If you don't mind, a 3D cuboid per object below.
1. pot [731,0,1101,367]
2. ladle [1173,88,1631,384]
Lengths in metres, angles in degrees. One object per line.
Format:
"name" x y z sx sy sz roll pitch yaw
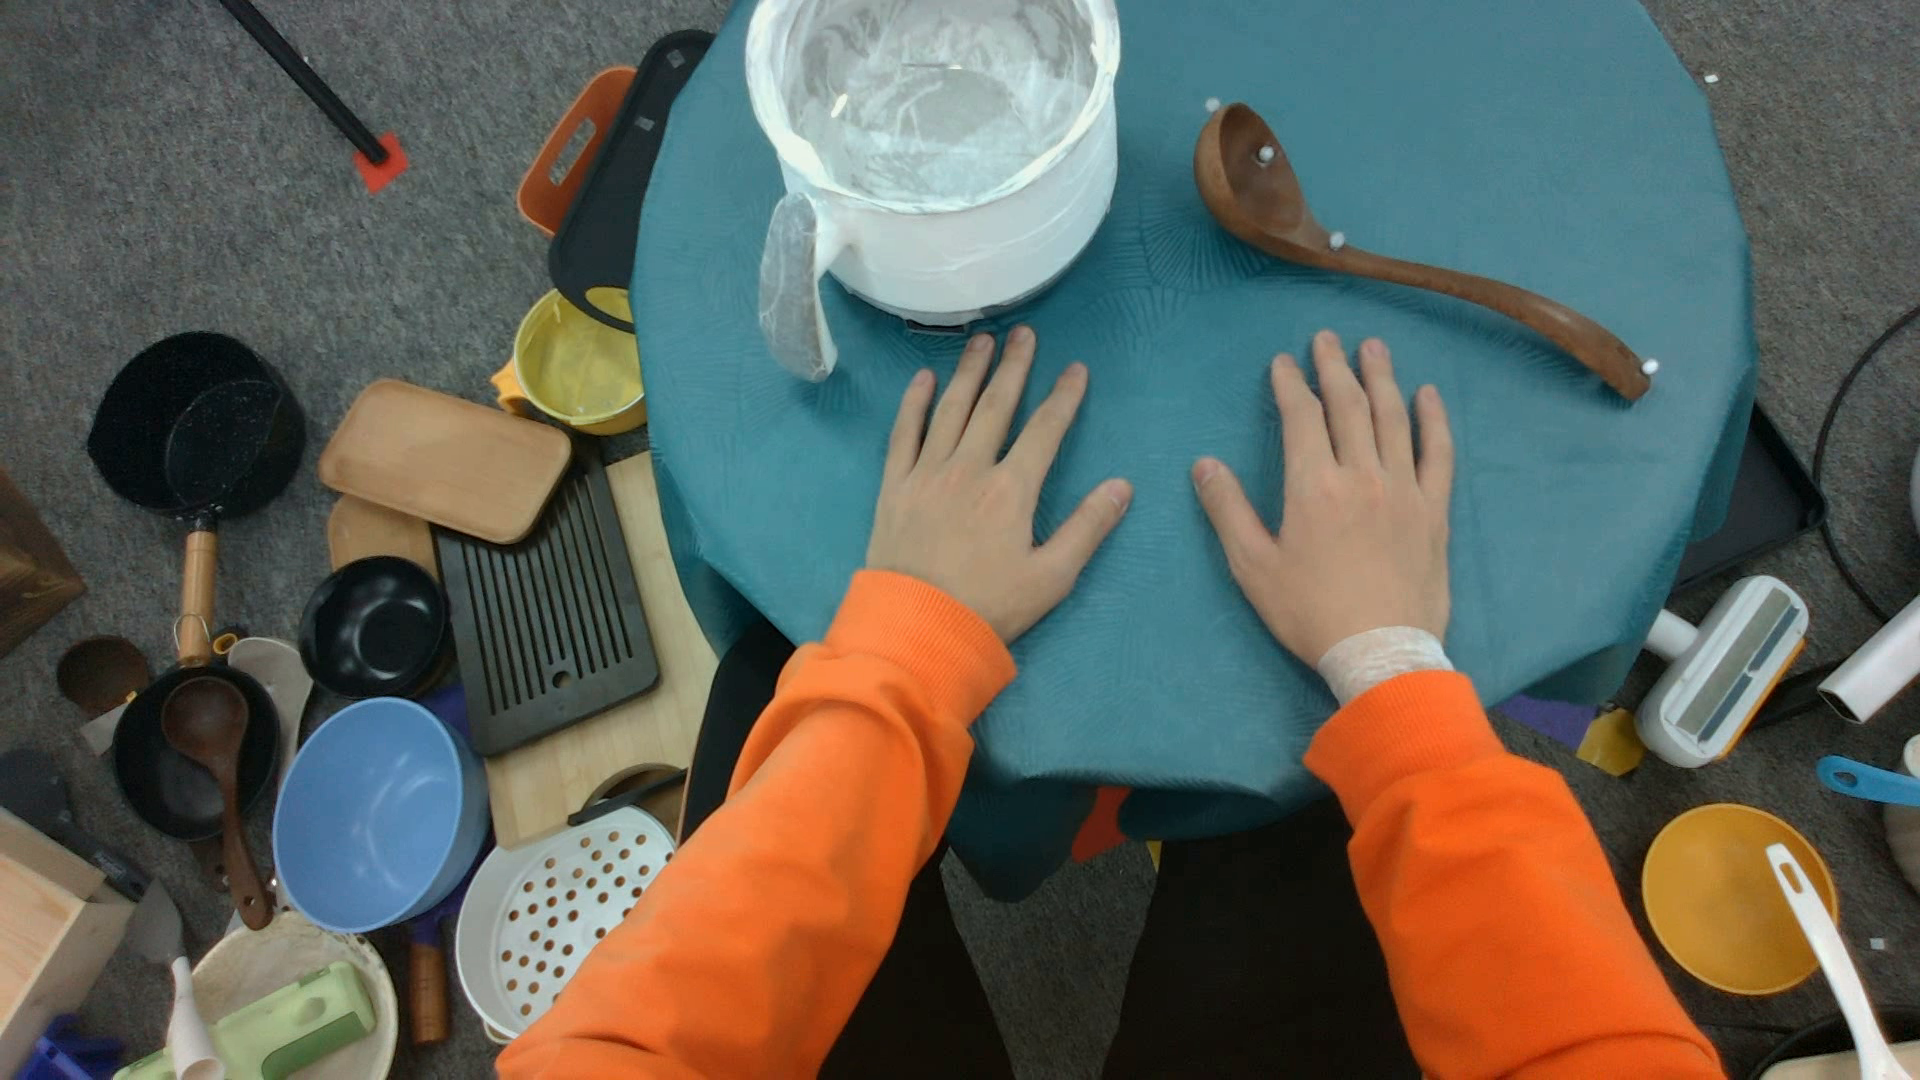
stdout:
"pot" -0.032 -0.198 0.703 0.179 0.136 0.234 32 78 14
"ladle" 0.229 -0.157 0.707 0.260 0.065 0.077 26 52 13
